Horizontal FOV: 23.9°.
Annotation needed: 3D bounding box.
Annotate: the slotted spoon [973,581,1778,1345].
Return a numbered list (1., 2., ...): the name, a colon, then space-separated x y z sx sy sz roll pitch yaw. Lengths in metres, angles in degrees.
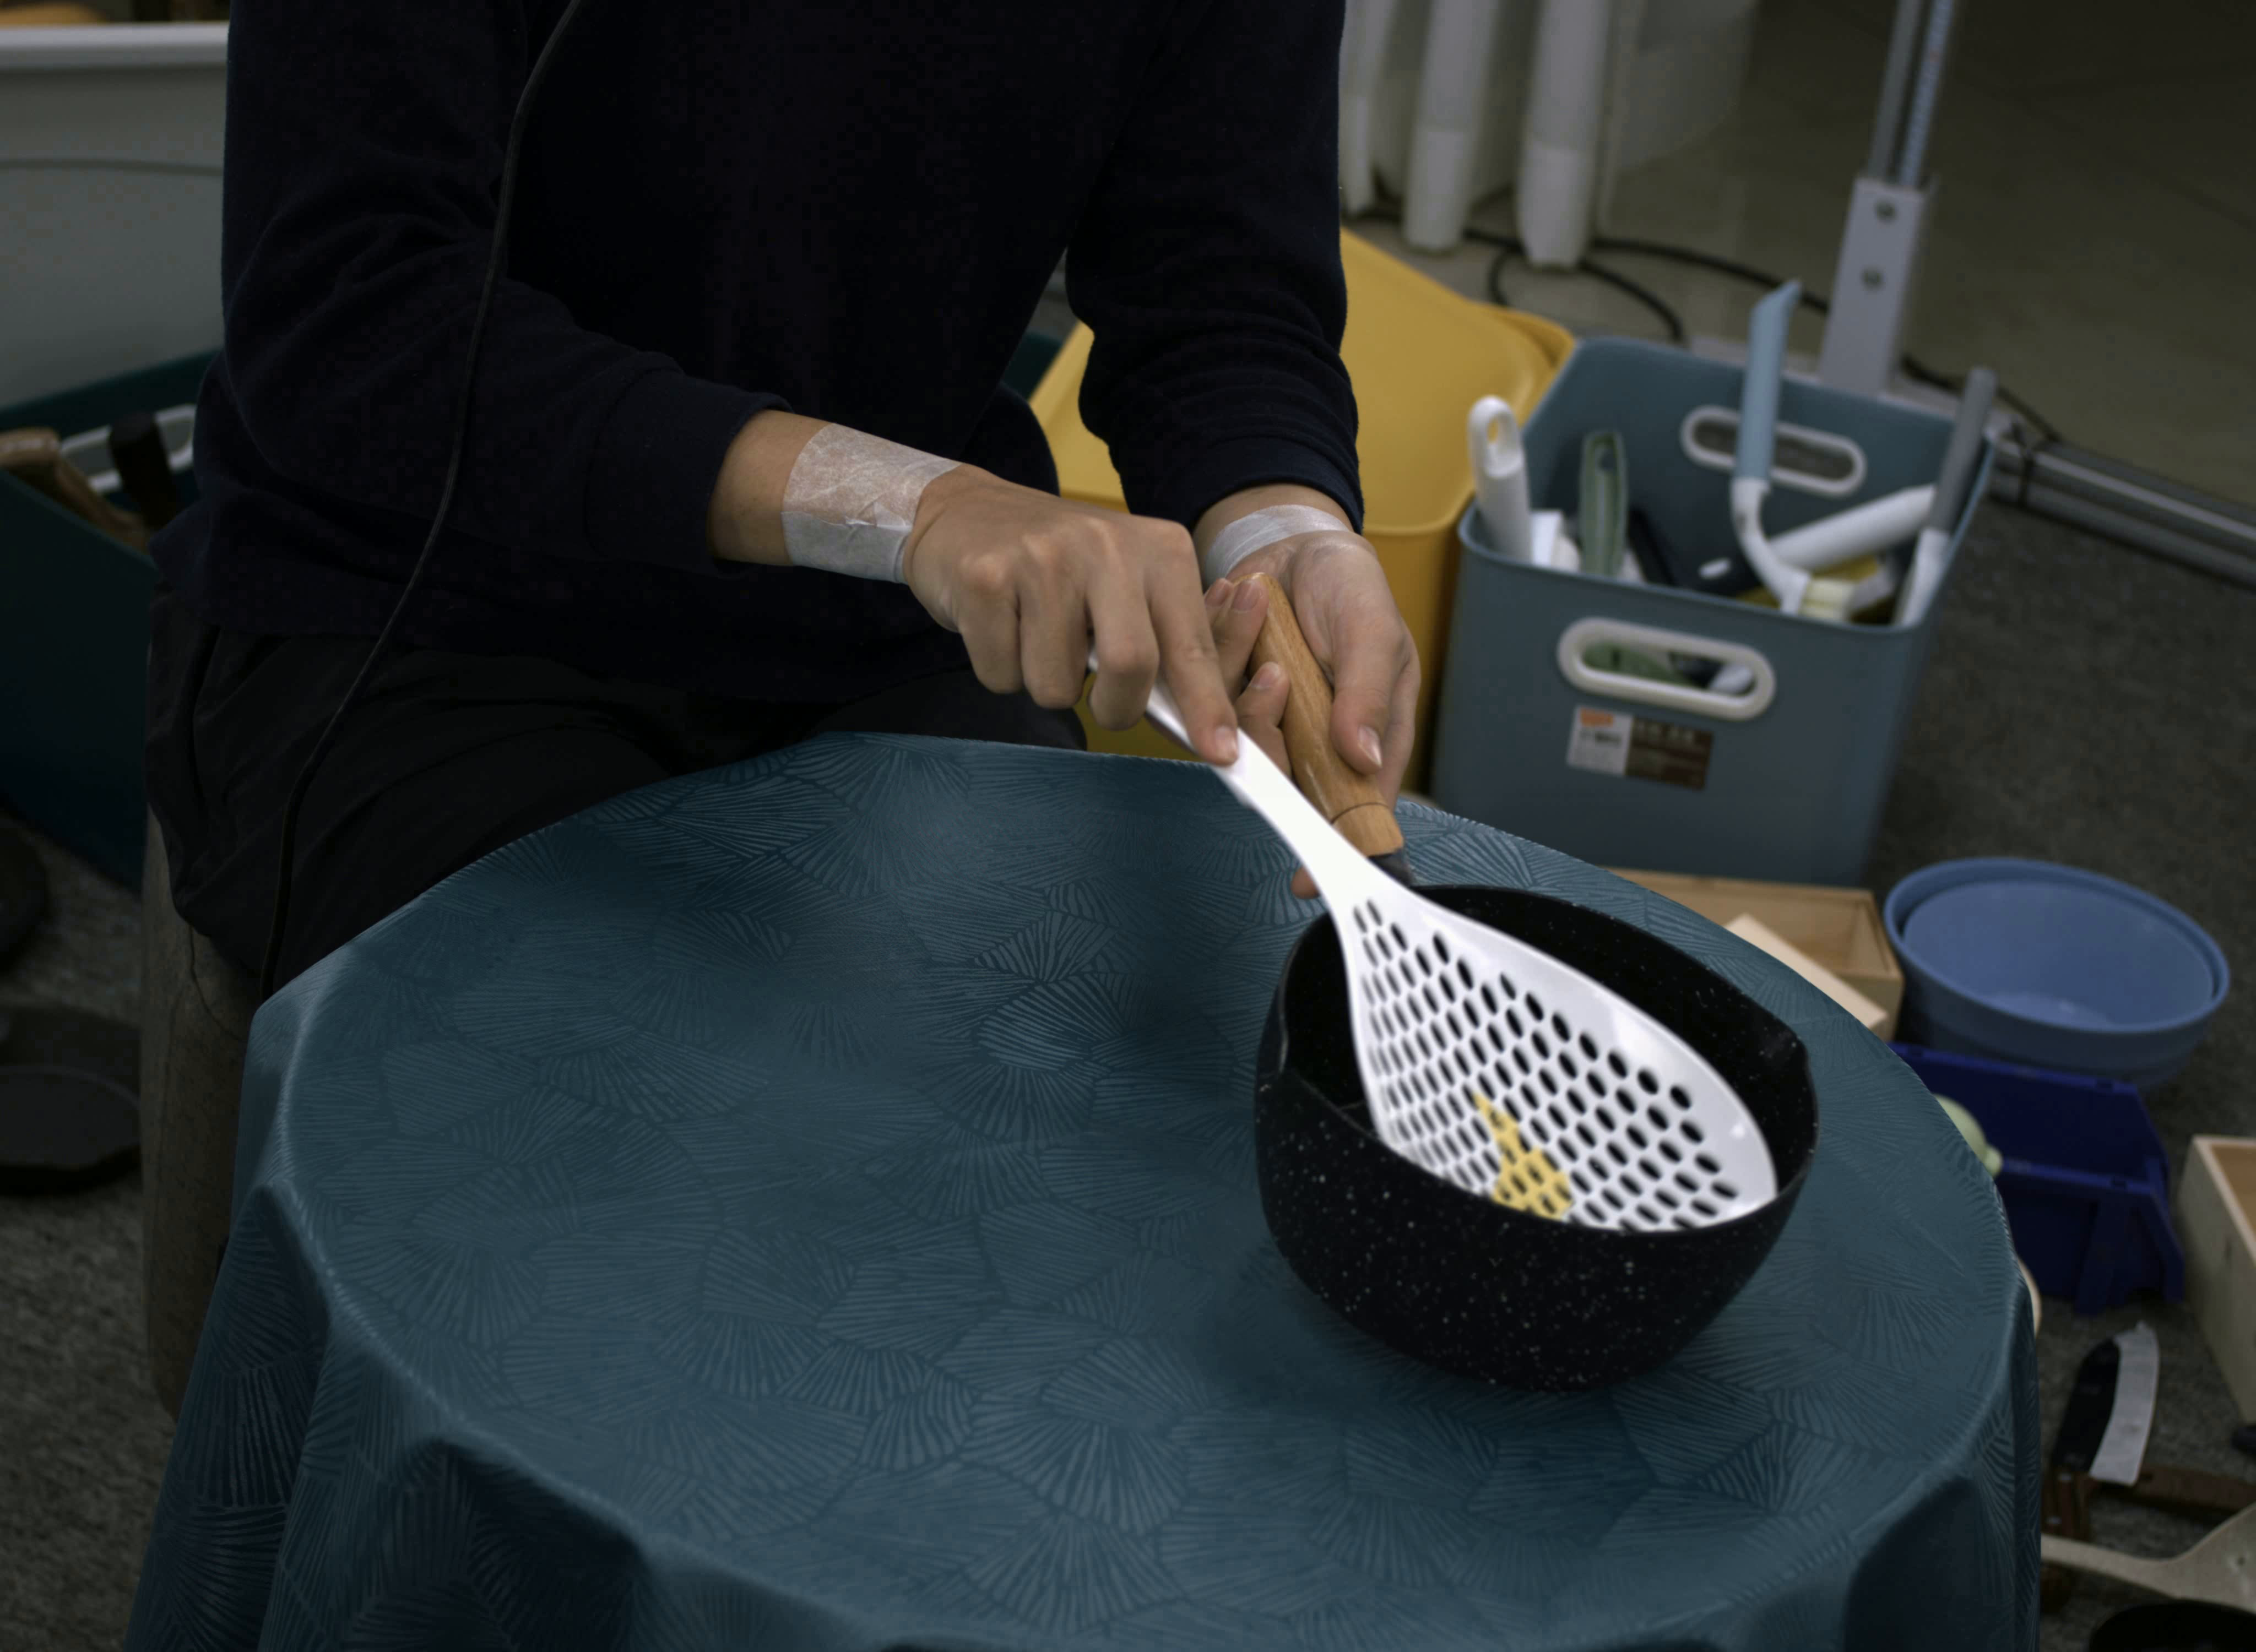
1. slotted spoon: 0.073 0.035 1.767 0.136 0.050 0.349 -30 75 -38

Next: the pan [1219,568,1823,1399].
1. pan: 0.096 0.051 1.797 0.206 0.108 0.346 -5 39 -27
